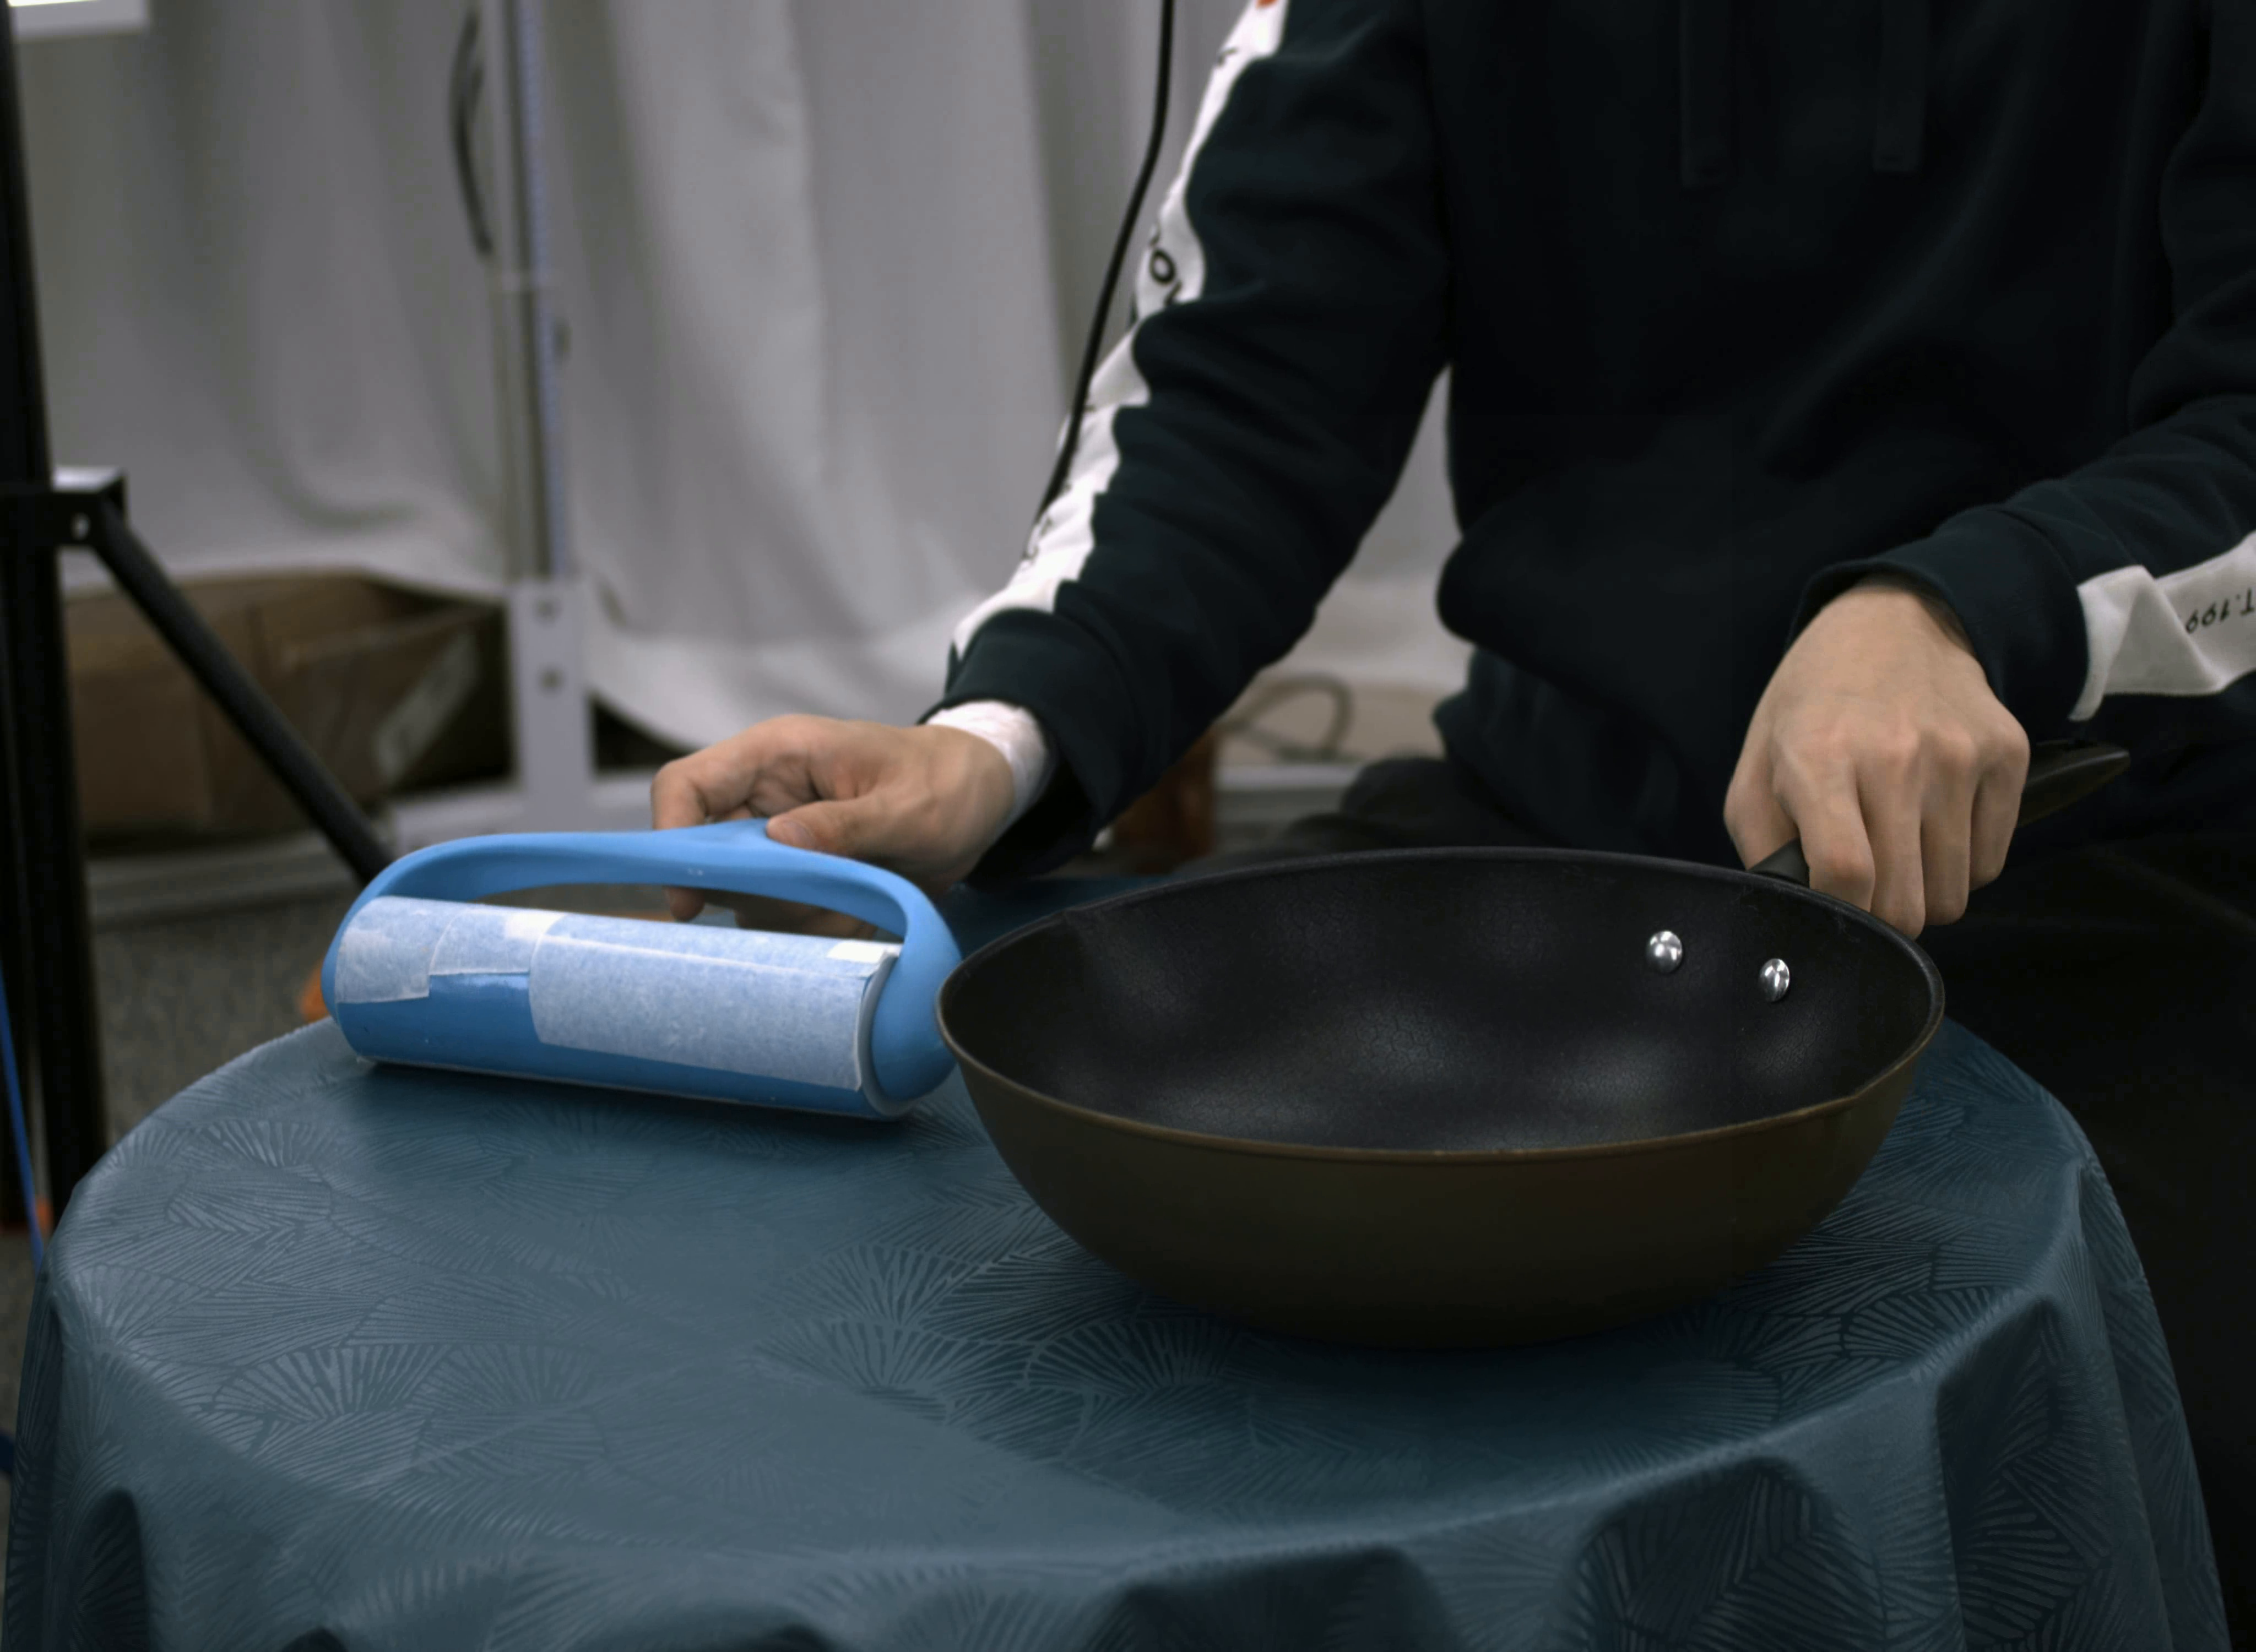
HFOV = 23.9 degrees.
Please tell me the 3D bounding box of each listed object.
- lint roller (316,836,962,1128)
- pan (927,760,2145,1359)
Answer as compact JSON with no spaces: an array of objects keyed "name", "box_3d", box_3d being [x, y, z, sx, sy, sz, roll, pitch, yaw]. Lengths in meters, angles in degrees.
[{"name":"lint roller","box_3d":[-0.131,0.035,1.707,0.232,0.067,0.178,1,24,26]},{"name":"pan","box_3d":[0.148,0.064,1.540,0.453,0.087,0.295,-17,21,-42]}]
